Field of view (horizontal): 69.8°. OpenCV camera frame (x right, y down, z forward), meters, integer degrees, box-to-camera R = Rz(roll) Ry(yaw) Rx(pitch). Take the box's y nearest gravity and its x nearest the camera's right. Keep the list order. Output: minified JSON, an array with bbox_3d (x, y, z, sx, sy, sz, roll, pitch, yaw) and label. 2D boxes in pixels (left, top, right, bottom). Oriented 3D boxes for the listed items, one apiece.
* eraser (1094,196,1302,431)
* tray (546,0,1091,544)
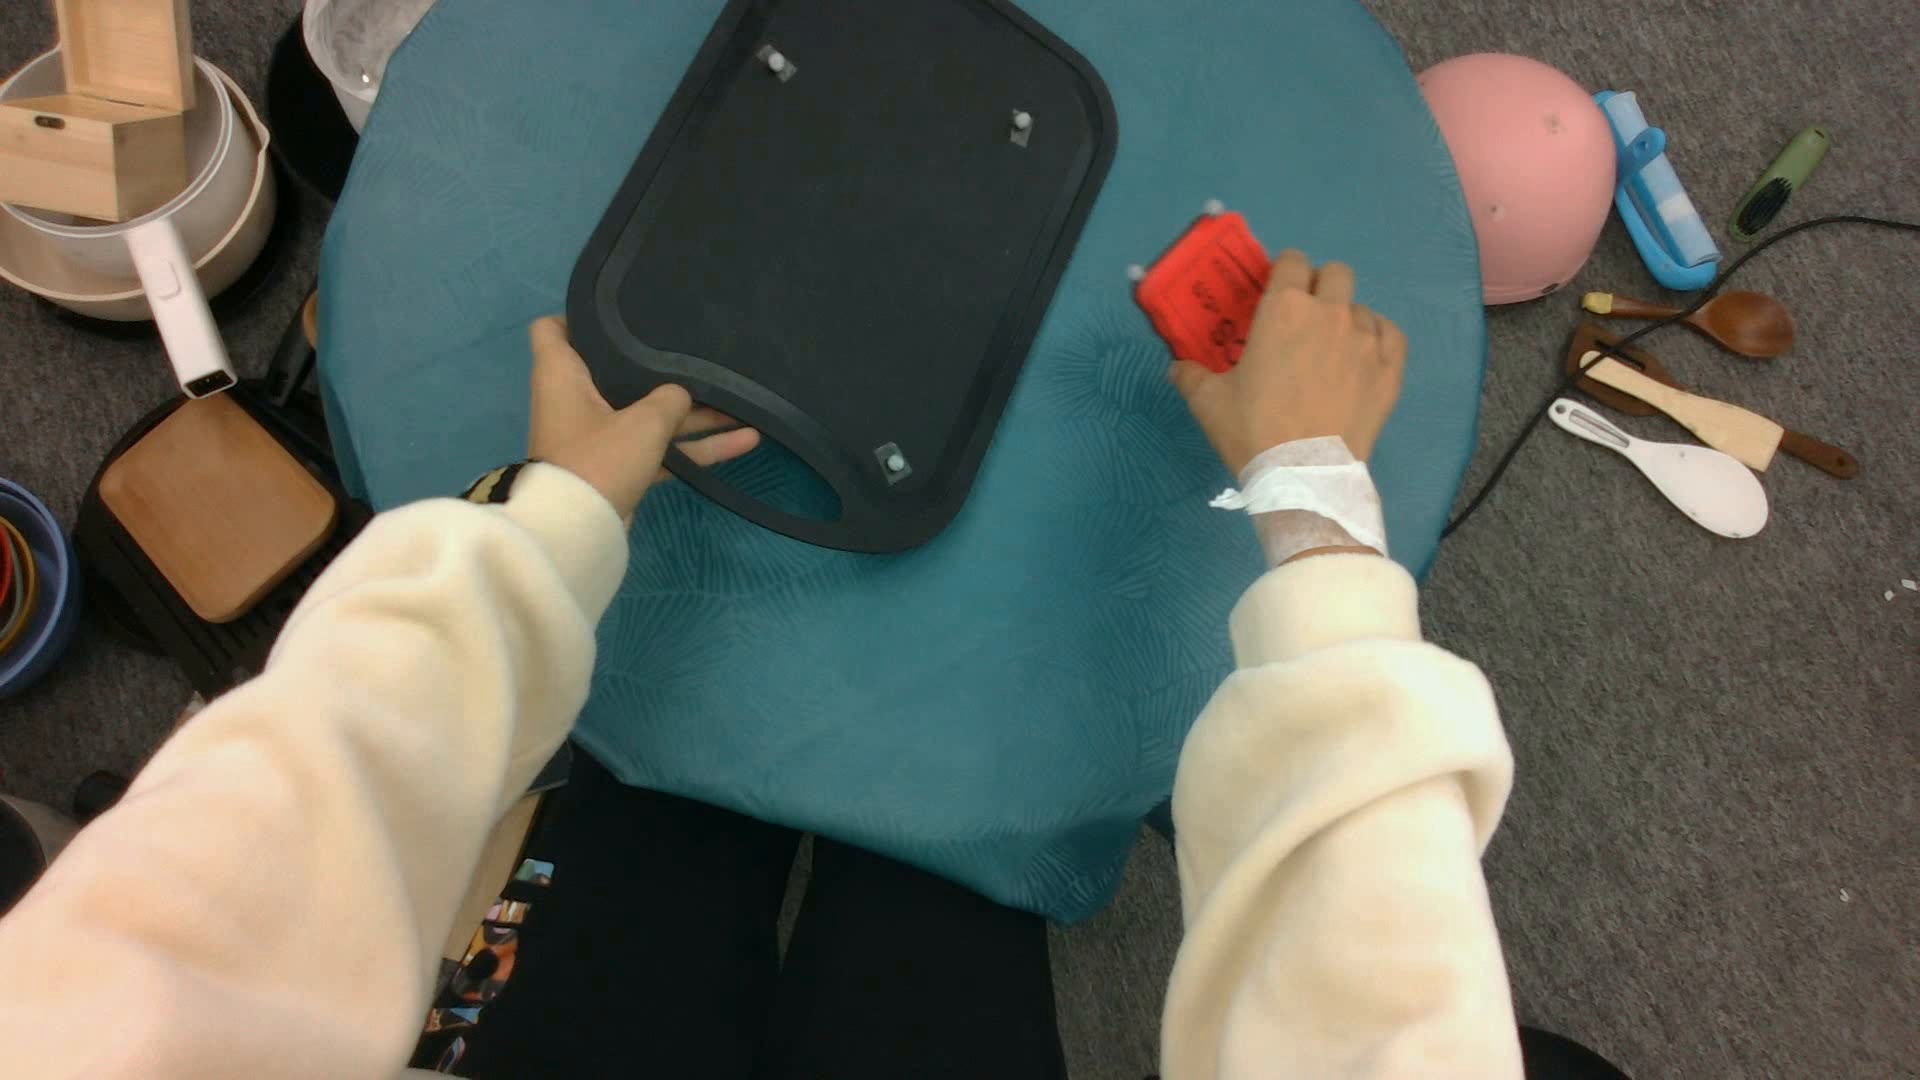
[{"bbox_3d":[0.114,-0.106,0.652,0.059,0.023,0.108,-48,116,-10],"label":"eraser"},{"bbox_3d":[-0.056,-0.158,0.670,0.211,0.010,0.326,30,66,-19],"label":"tray"}]
